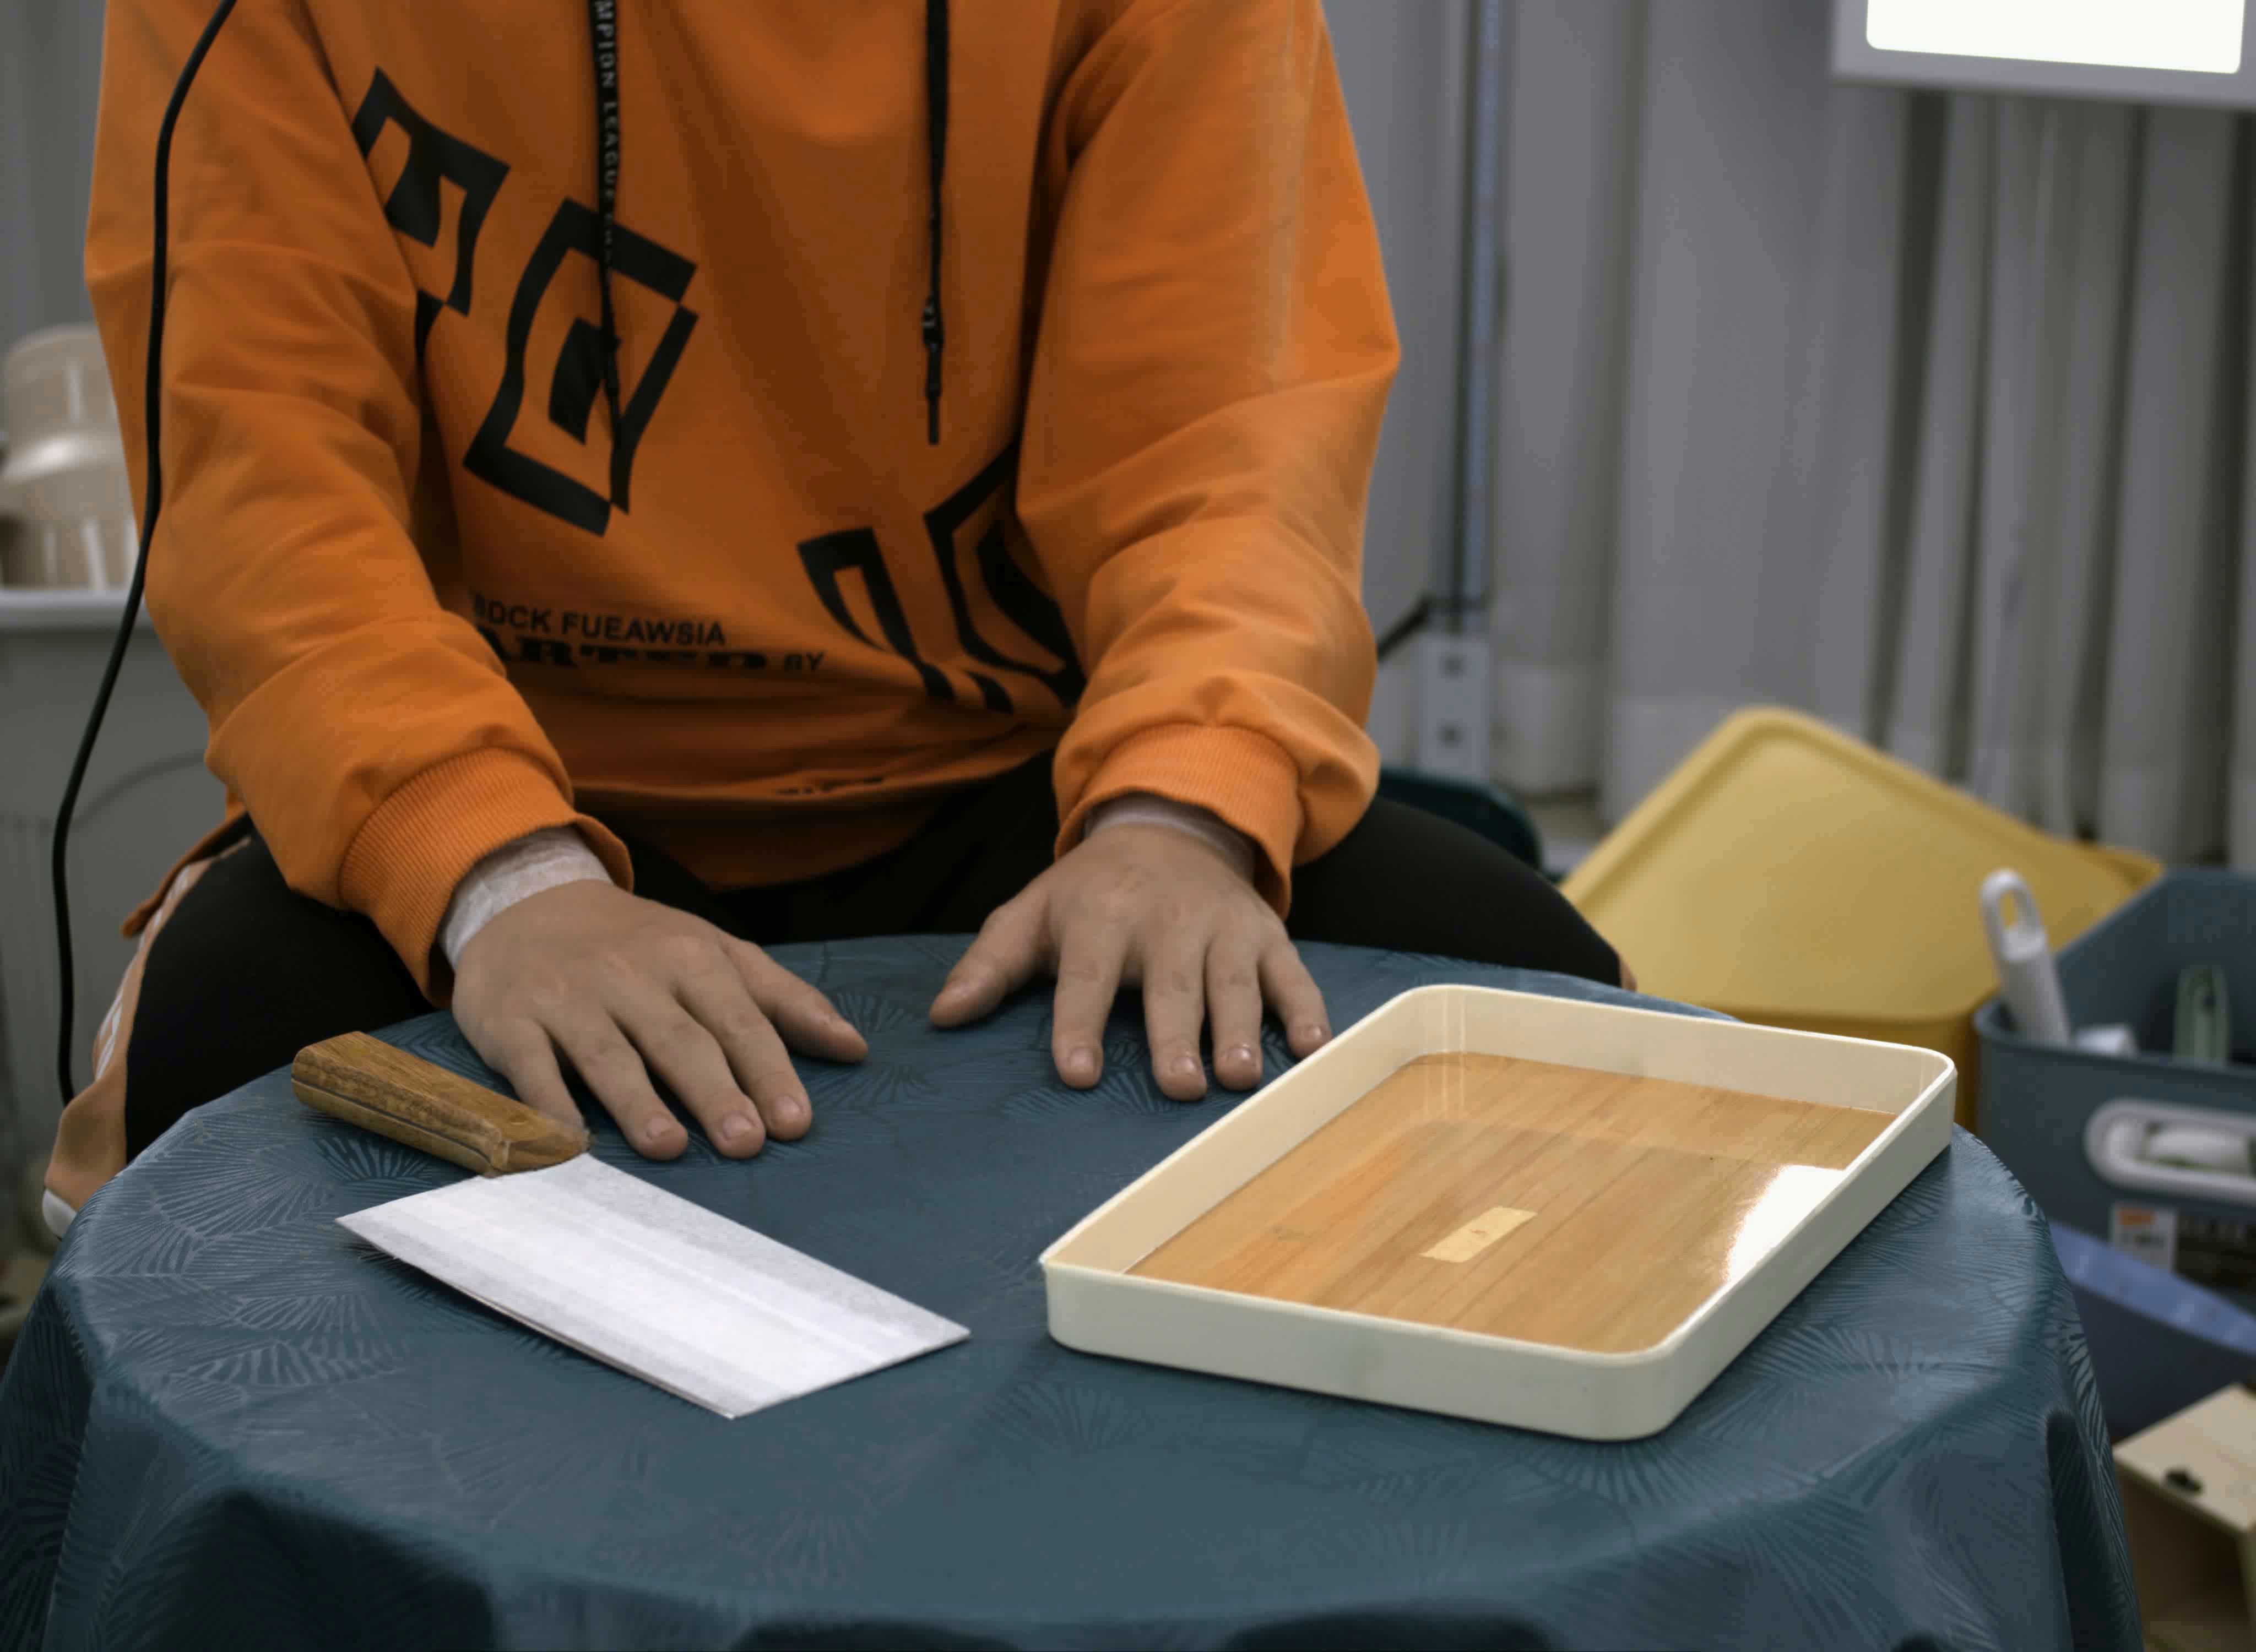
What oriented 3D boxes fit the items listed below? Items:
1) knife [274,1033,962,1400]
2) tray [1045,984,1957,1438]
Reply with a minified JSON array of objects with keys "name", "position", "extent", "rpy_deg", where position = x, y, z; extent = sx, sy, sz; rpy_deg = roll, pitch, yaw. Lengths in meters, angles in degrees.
[{"name":"knife","position":[-0.178,0.117,1.572],"extent":[0.093,0.021,0.301],"rpy_deg":[-15,25,-41]},{"name":"tray","position":[0.119,0.110,1.583],"extent":[0.189,0.027,0.301],"rpy_deg":[7,17,24]}]
